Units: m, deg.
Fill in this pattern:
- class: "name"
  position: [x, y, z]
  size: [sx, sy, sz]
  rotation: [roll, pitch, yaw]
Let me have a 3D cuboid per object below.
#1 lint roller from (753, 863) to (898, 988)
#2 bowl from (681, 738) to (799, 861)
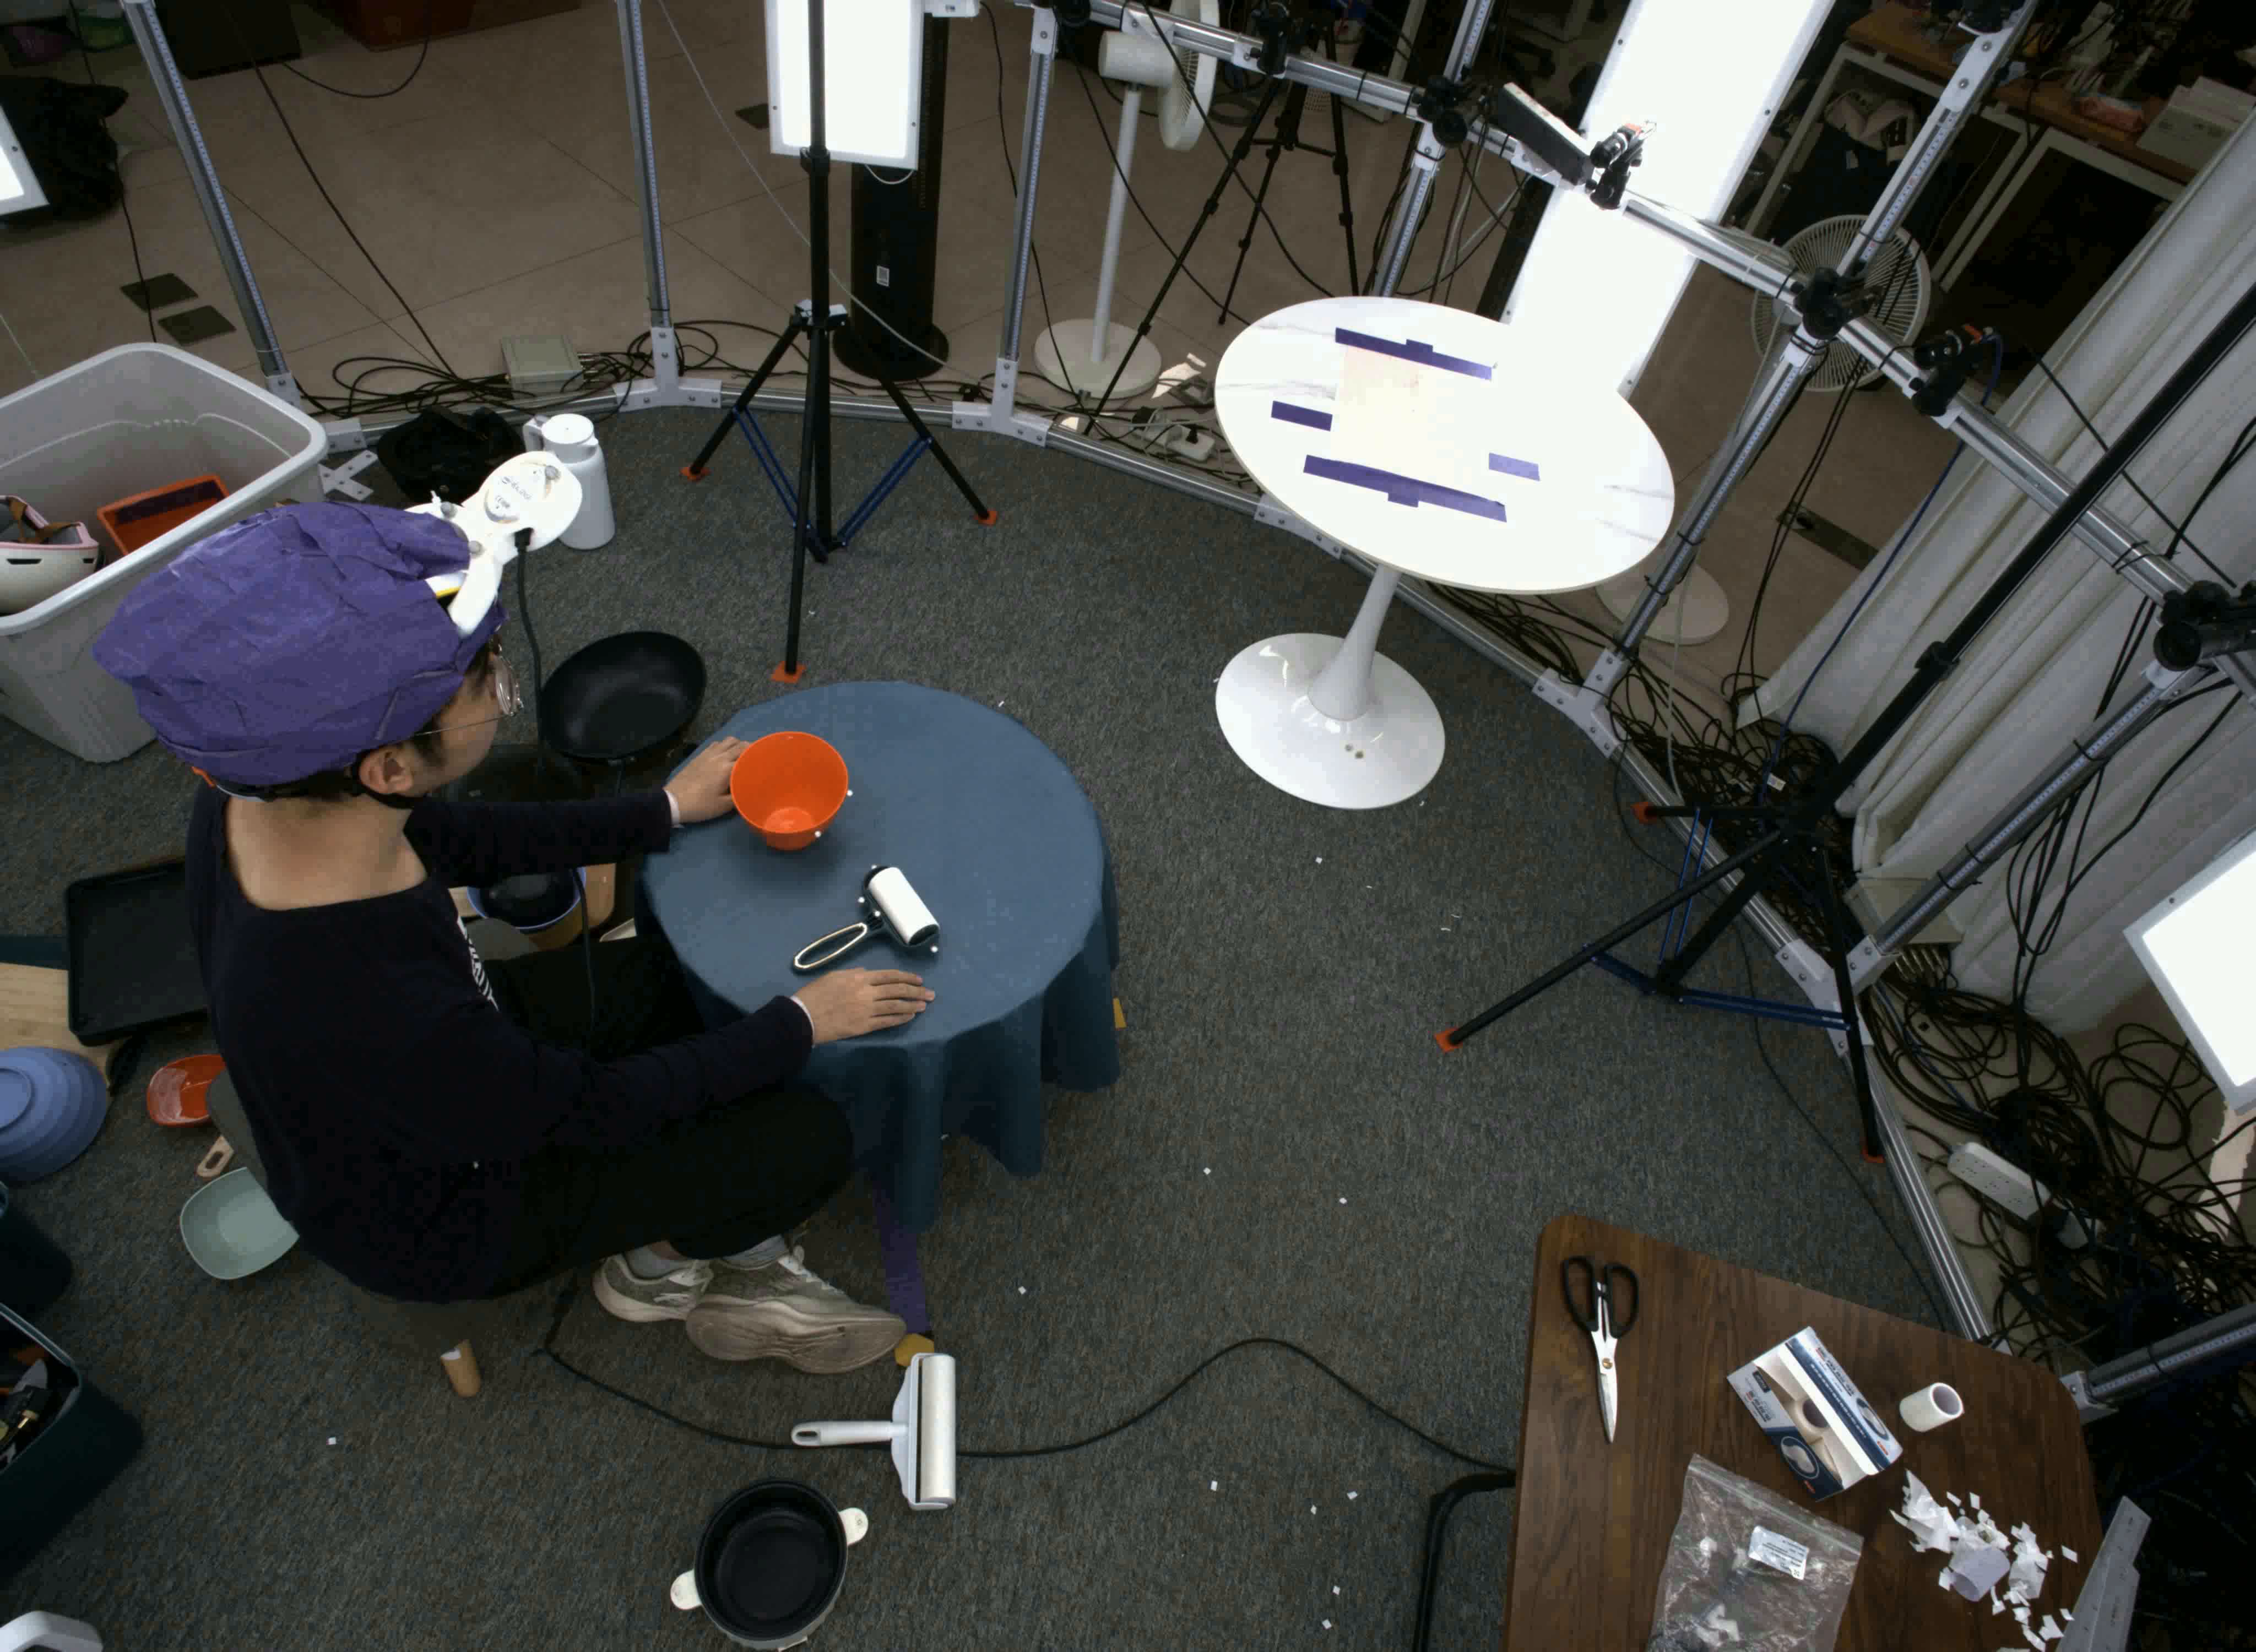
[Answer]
- class: "lint roller"
  position: [-0.390, 0.138, 1.617]
  size: [0.180, 0.049, 0.131]
  rotation: [-32, 66, -28]
- class: "bowl"
  position: [-0.497, -0.023, 1.671]
  size: [0.147, 0.107, 0.145]
  rotation: [6, 54, -7]
